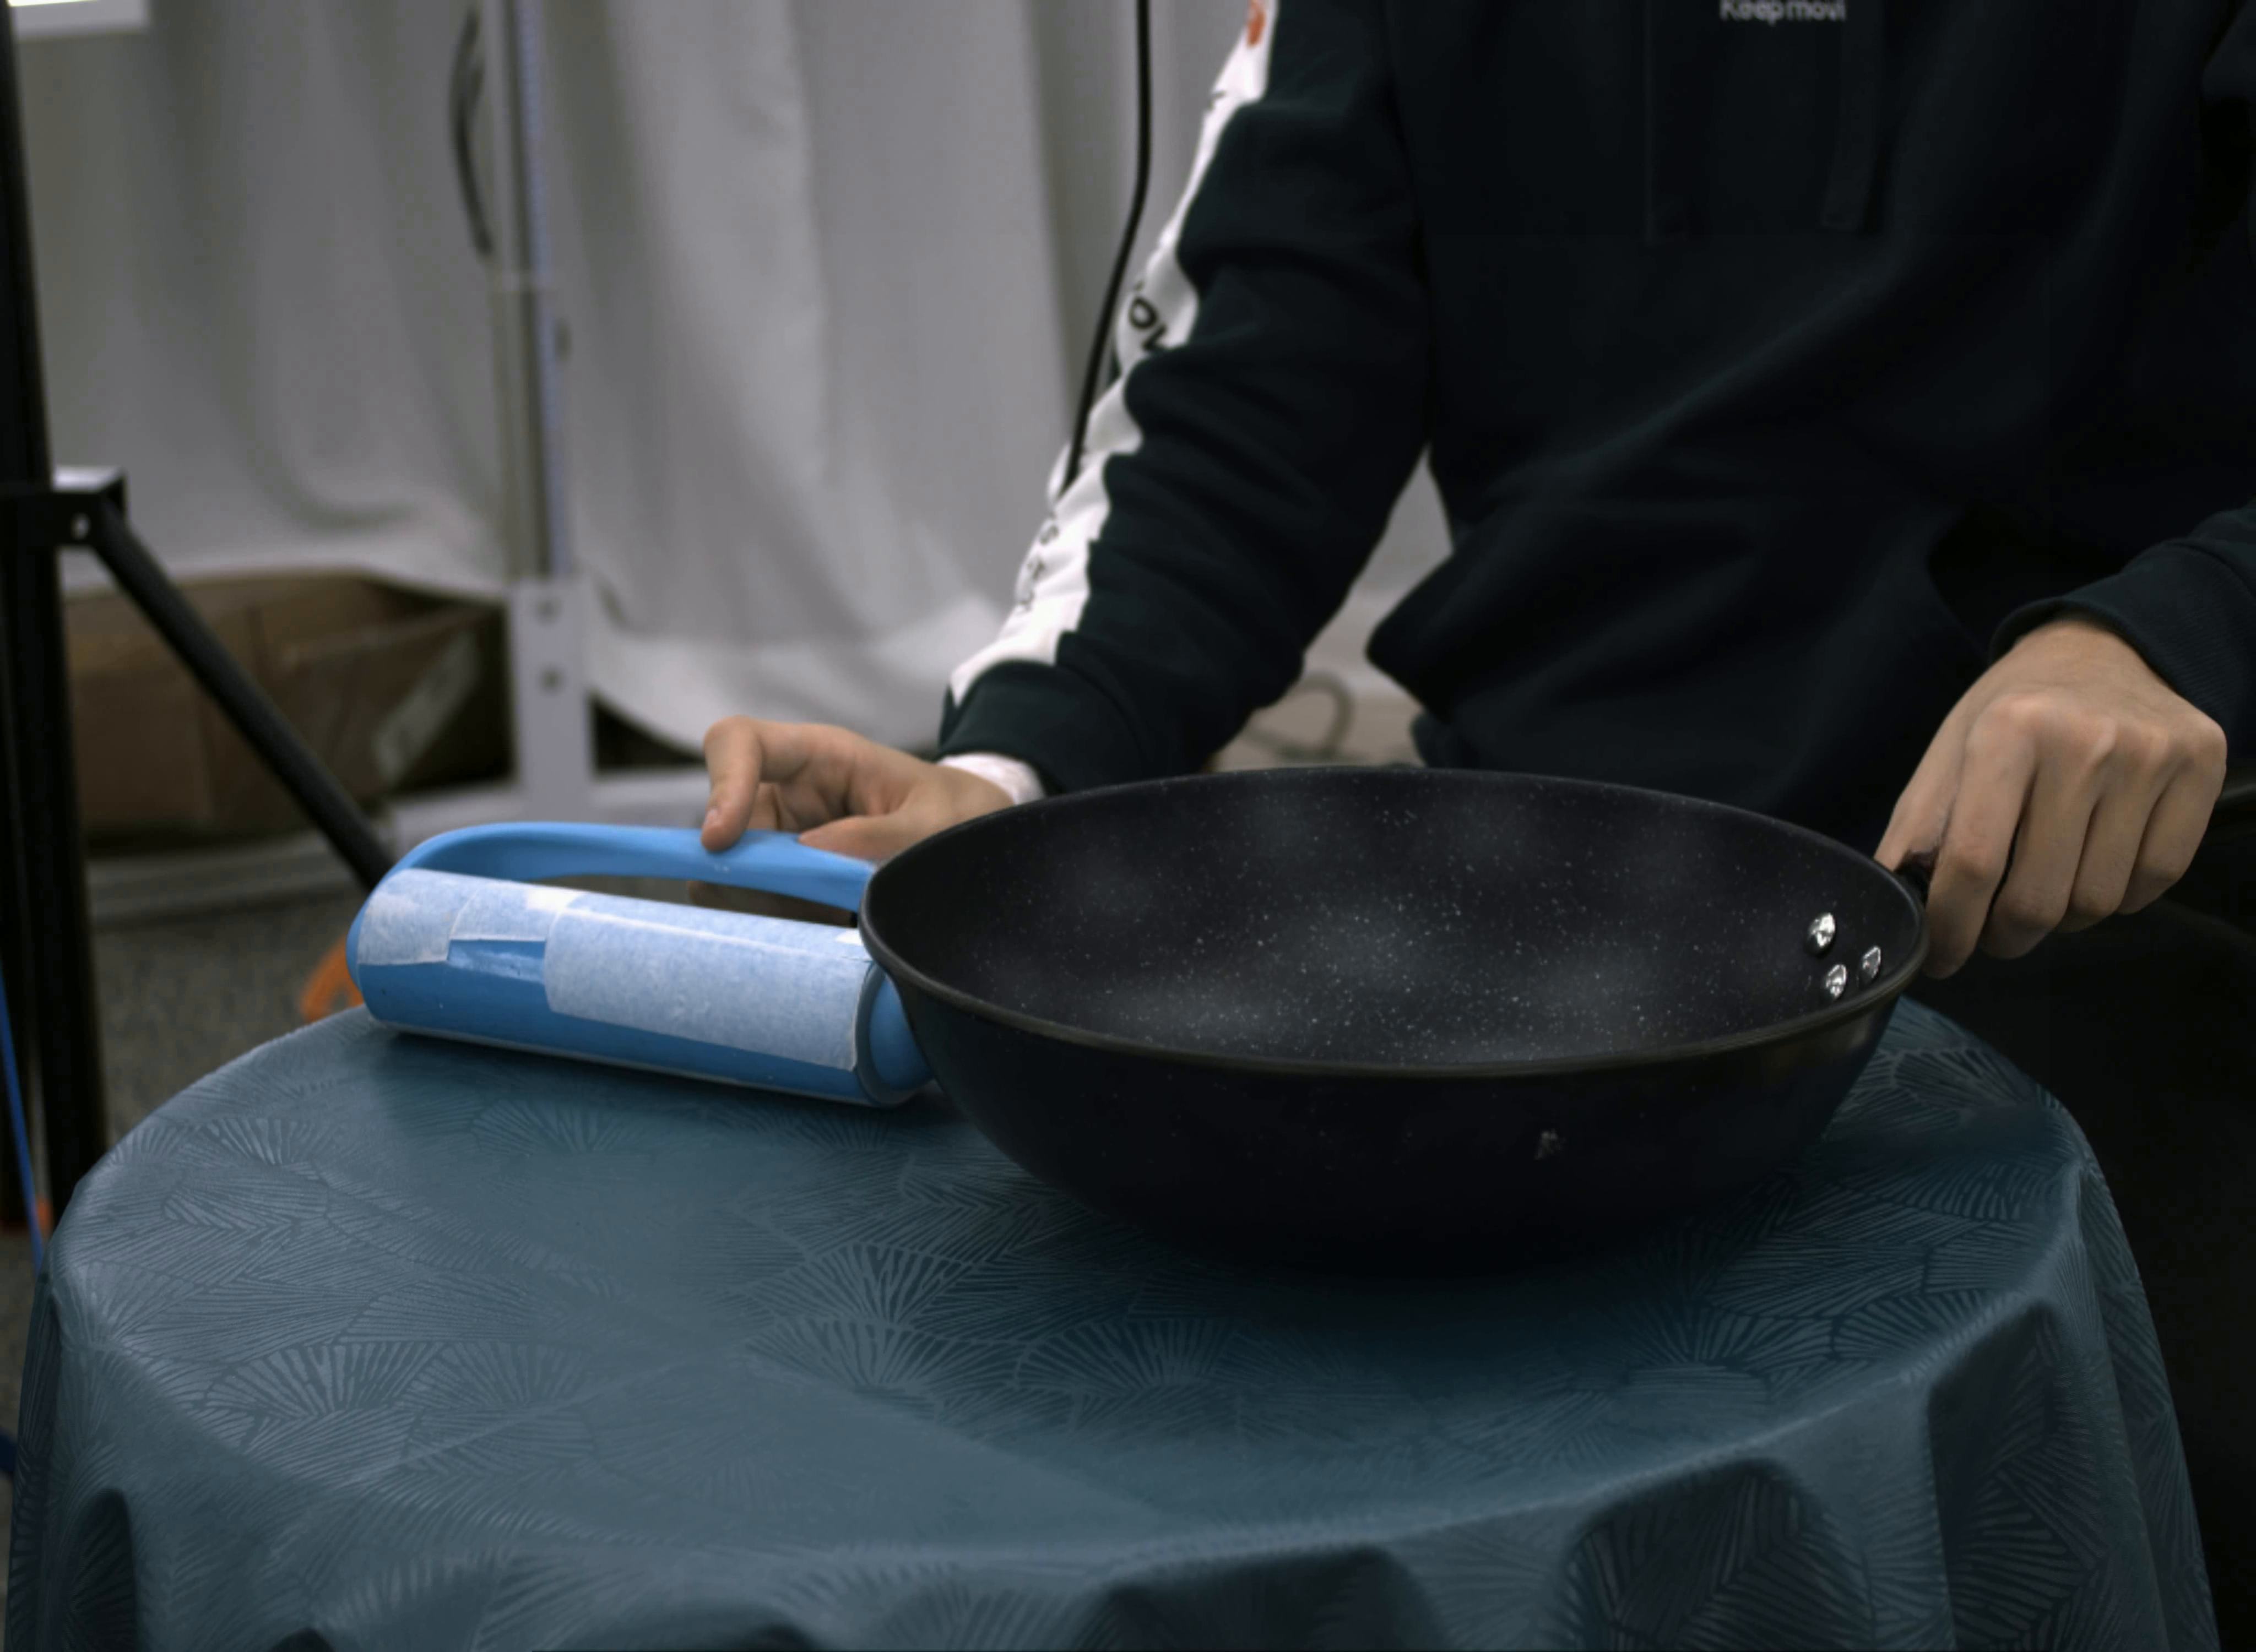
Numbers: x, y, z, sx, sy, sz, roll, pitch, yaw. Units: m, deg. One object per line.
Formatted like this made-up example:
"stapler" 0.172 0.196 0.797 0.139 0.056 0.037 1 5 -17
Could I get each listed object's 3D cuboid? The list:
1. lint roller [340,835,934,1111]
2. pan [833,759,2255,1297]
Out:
"lint roller" -0.126 0.035 1.734 0.233 0.068 0.177 3 18 28
"pan" 0.149 0.049 1.549 0.469 0.111 0.315 -4 17 -14
